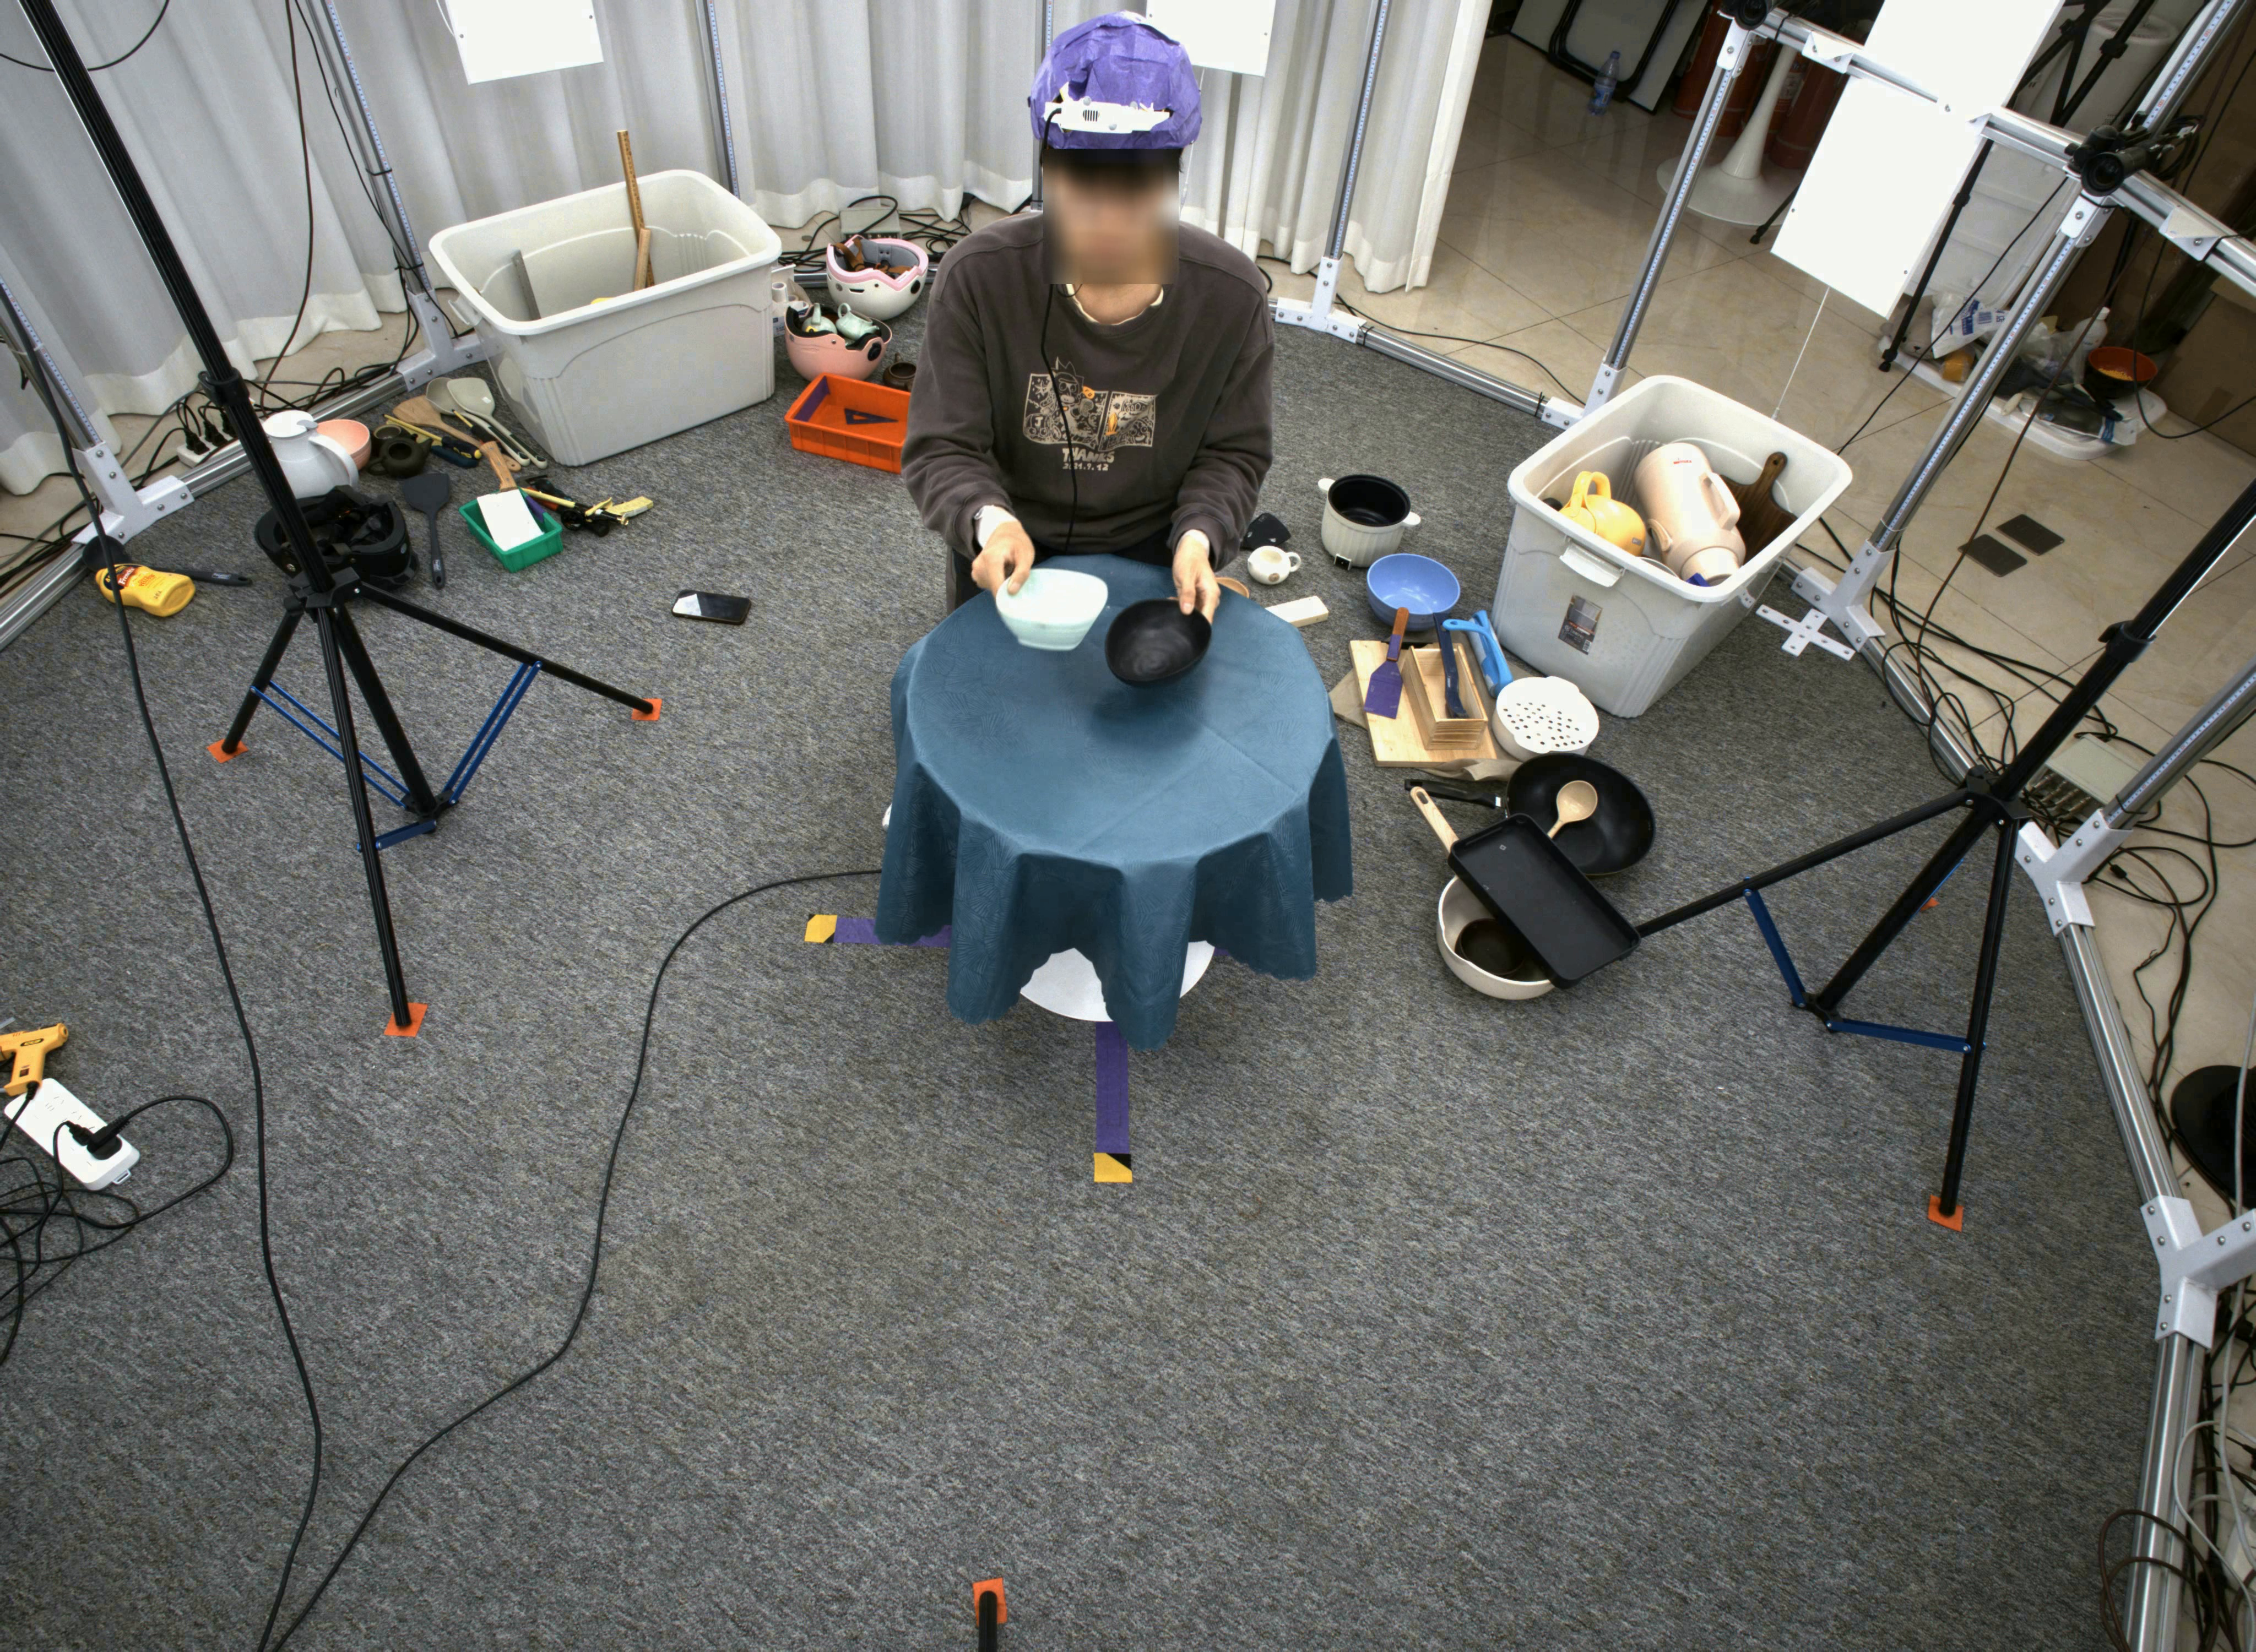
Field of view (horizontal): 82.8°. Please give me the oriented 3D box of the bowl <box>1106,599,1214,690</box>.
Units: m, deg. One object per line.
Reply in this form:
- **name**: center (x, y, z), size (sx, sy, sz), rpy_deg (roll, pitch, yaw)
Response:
- **bowl**: center (0.043, -0.241, 1.792), size (0.139, 0.065, 0.172), rpy_deg (30, 56, 20)

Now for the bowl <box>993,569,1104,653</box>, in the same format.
- **bowl**: center (-0.103, -0.271, 1.658), size (0.151, 0.057, 0.155), rpy_deg (3, 38, -3)
